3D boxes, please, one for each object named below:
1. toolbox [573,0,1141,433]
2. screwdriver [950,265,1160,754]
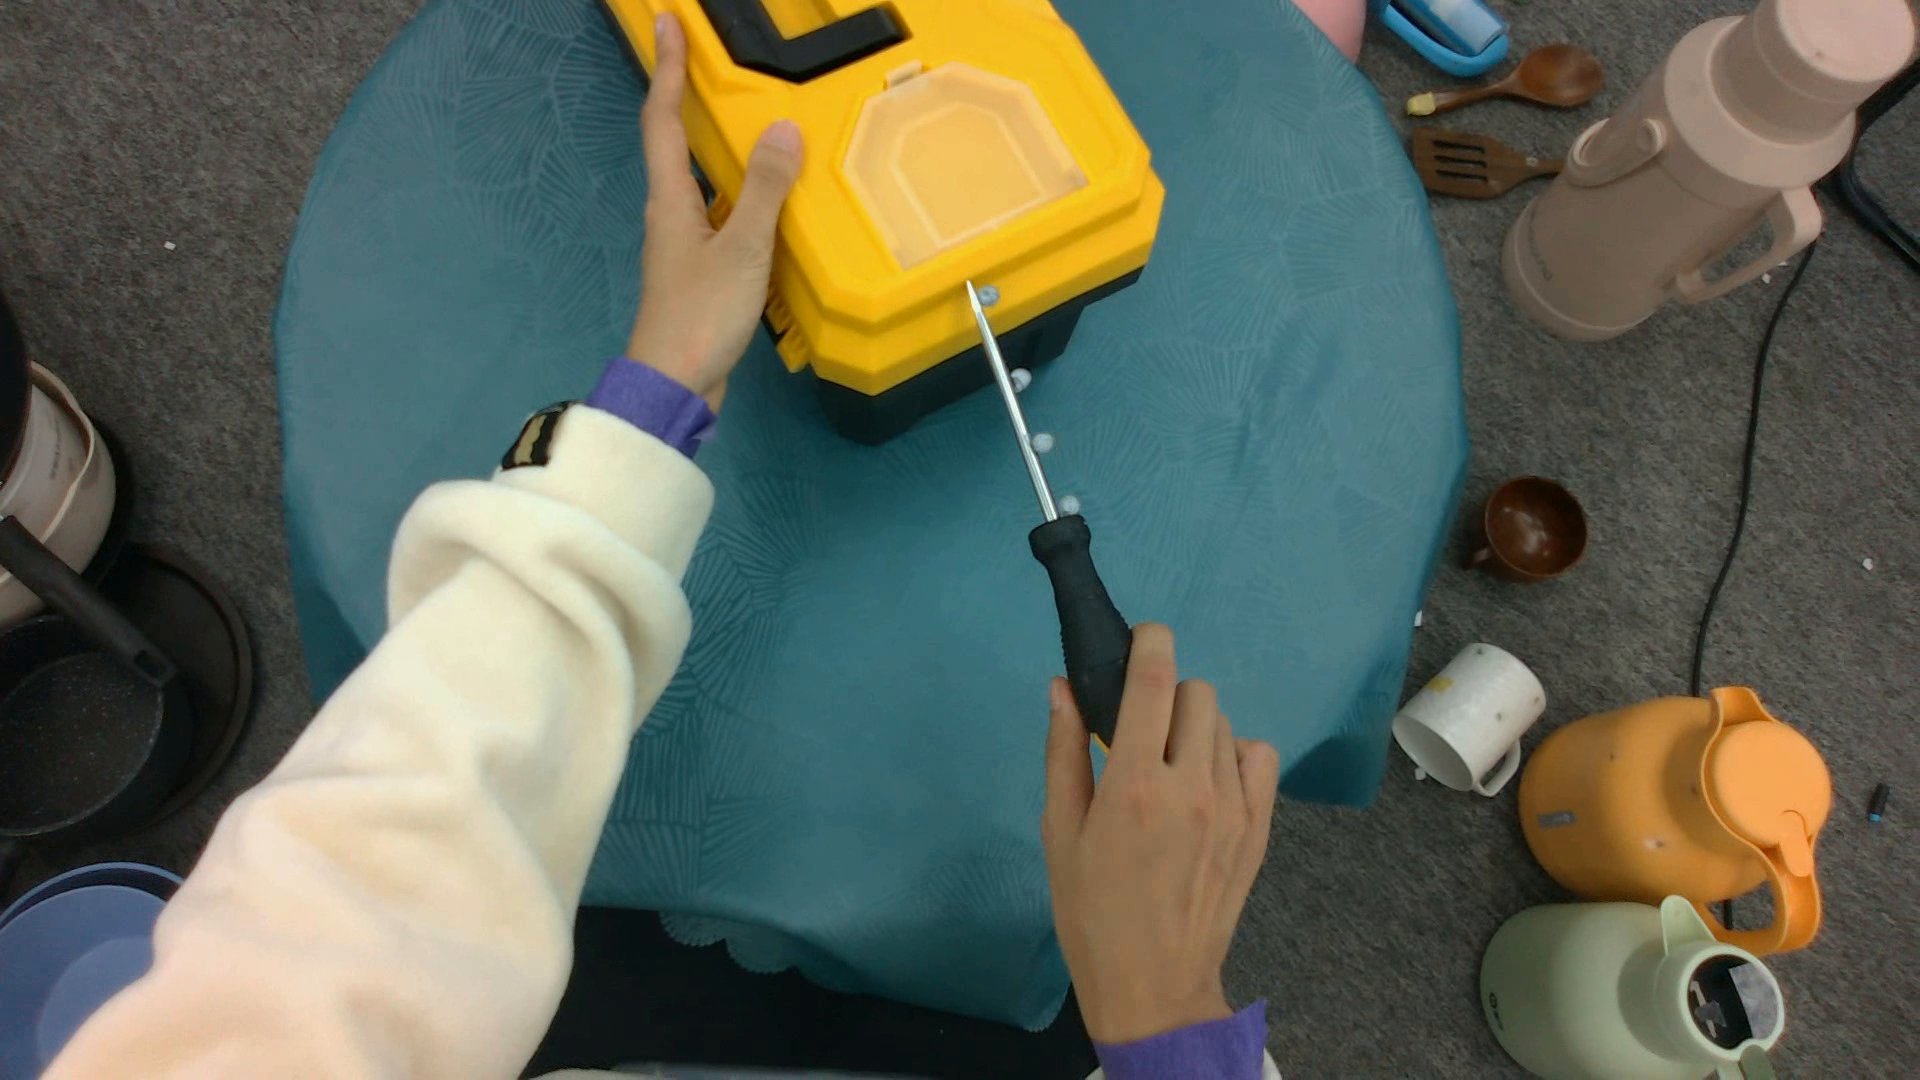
[{"bbox_3d":[-0.076,-0.233,0.643,0.181,0.172,0.352,-27,78,-13],"label":"toolbox"},{"bbox_3d":[0.033,-0.014,0.524,0.031,0.031,0.198,-17,80,-10],"label":"screwdriver"}]
